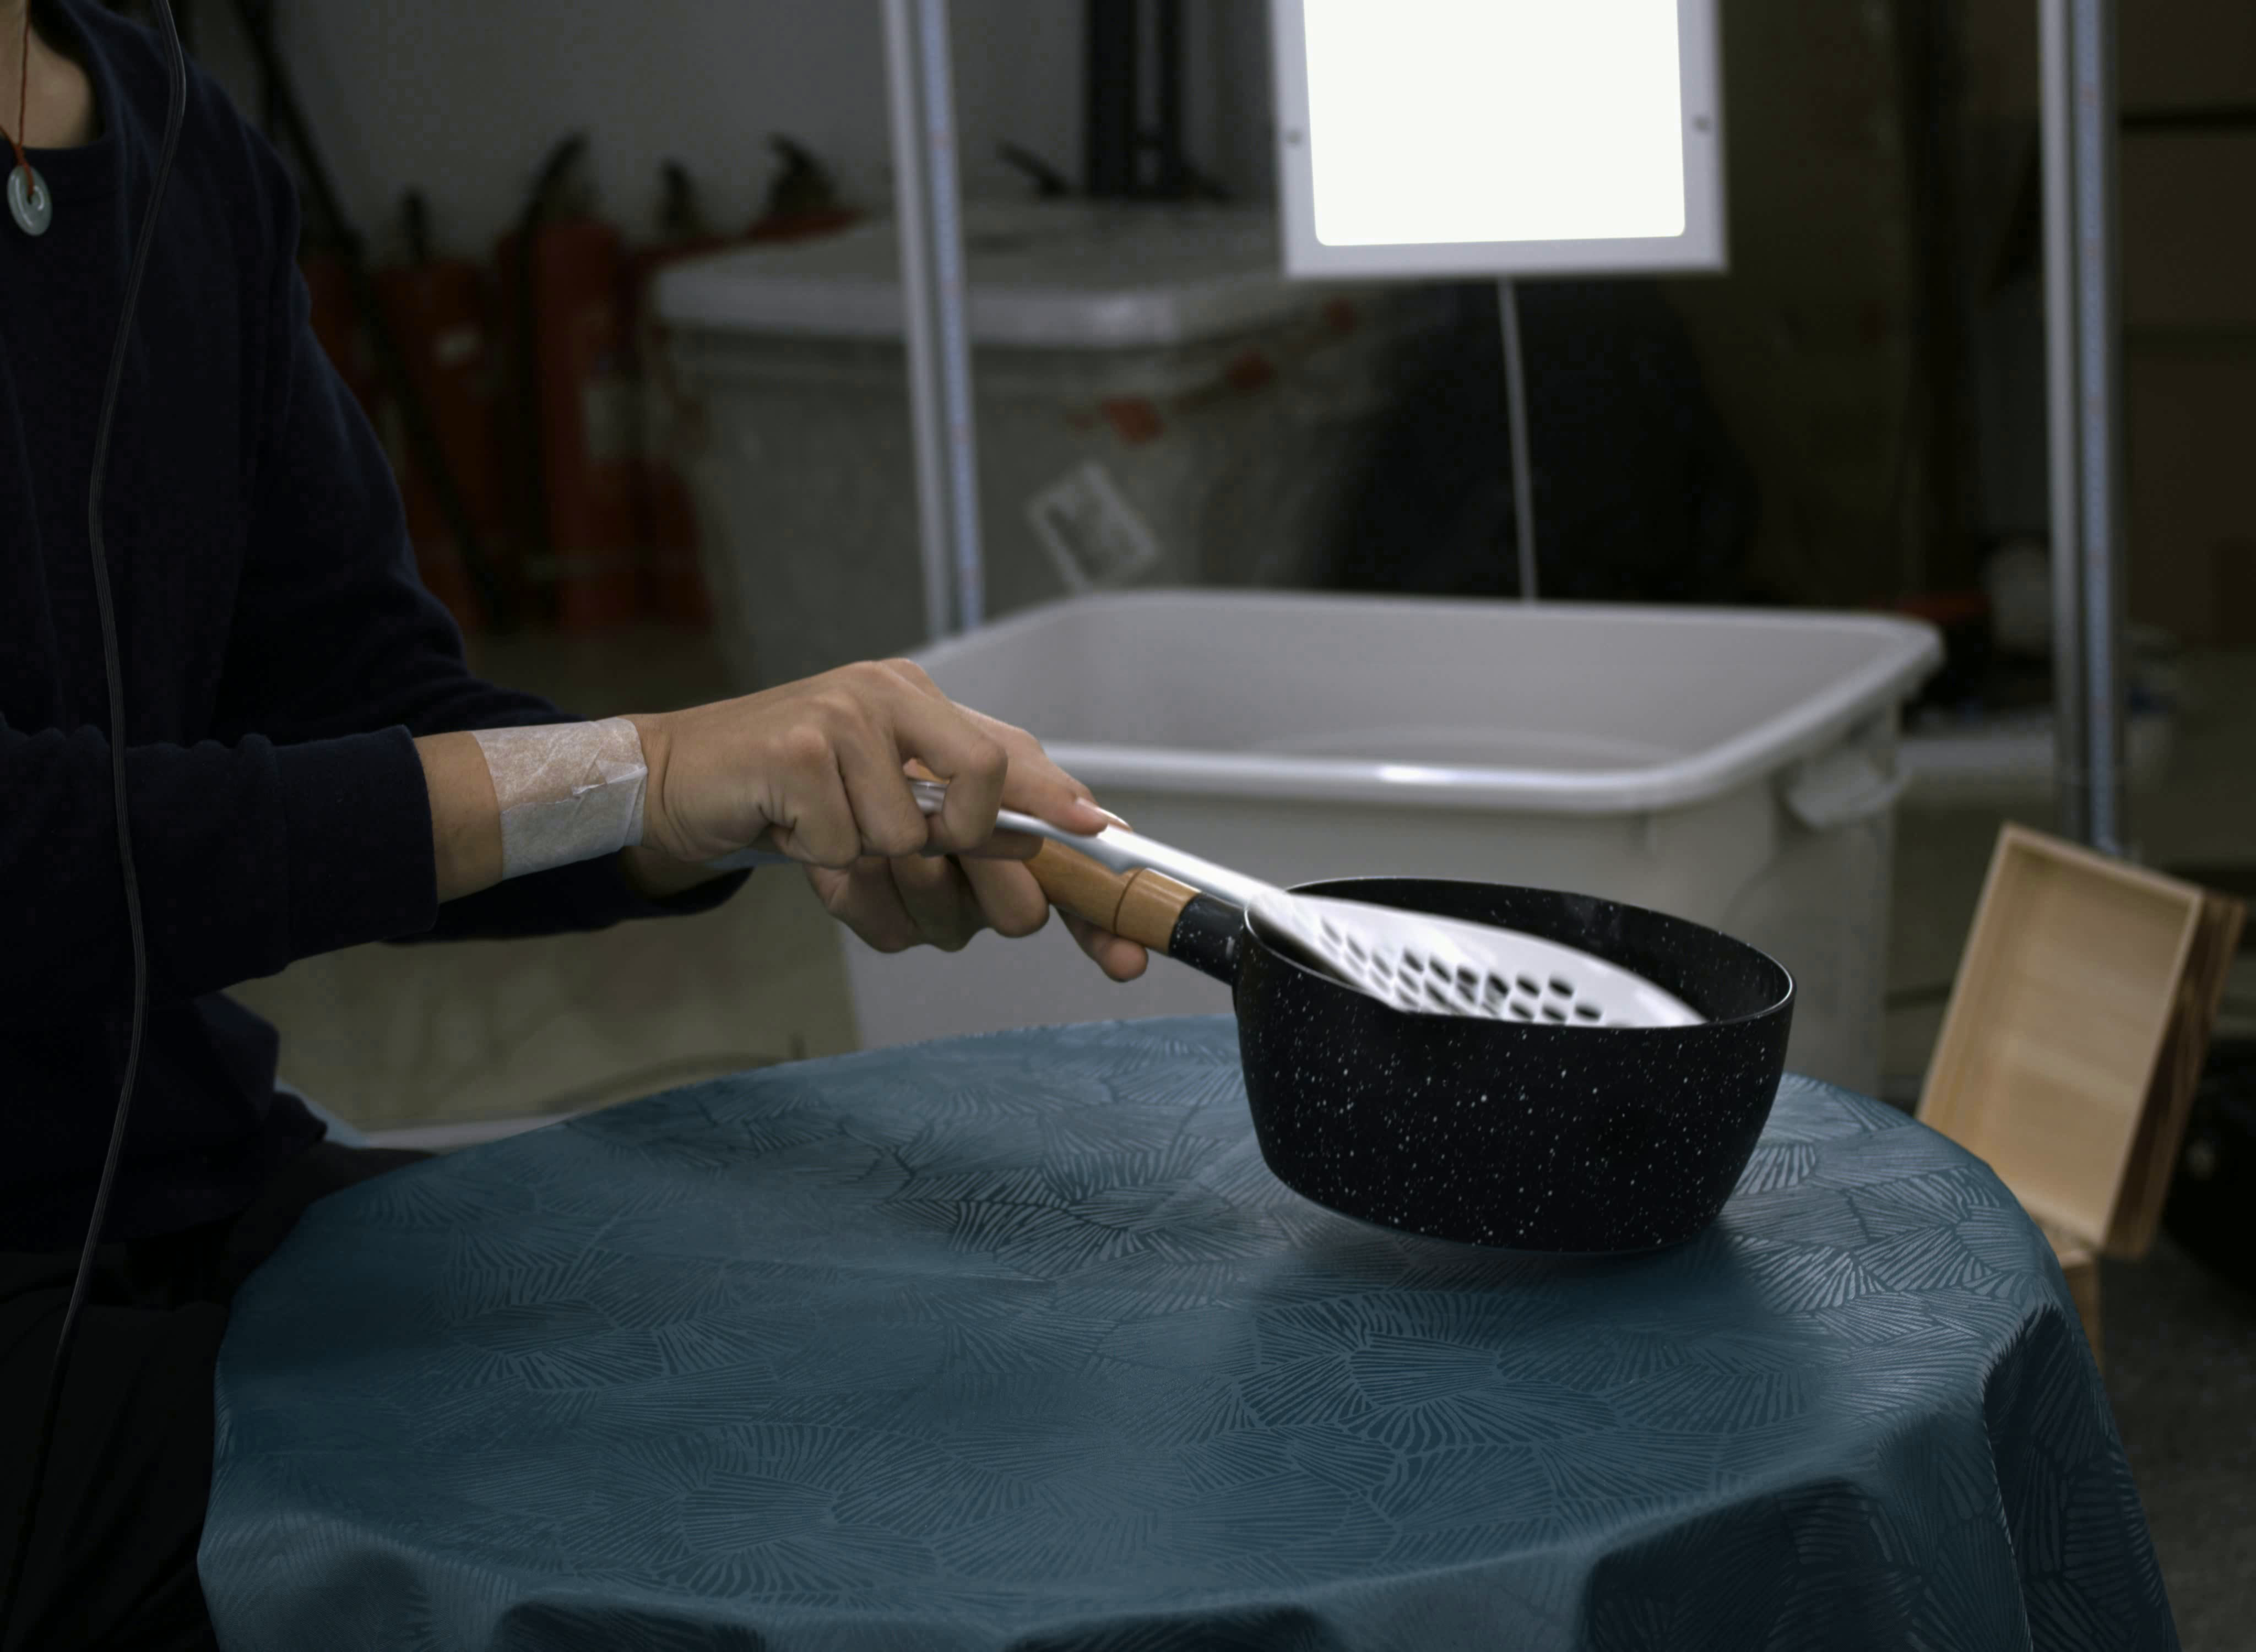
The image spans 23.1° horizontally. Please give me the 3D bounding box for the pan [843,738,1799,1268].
[{"bbox_3d":[0.053,0.055,1.844,0.347,0.109,0.203,12,16,22],"label":"pan"}]

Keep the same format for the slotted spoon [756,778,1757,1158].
[{"bbox_3d":[0.045,0.038,1.806,0.345,0.051,0.136,25,21,-8],"label":"slotted spoon"}]
